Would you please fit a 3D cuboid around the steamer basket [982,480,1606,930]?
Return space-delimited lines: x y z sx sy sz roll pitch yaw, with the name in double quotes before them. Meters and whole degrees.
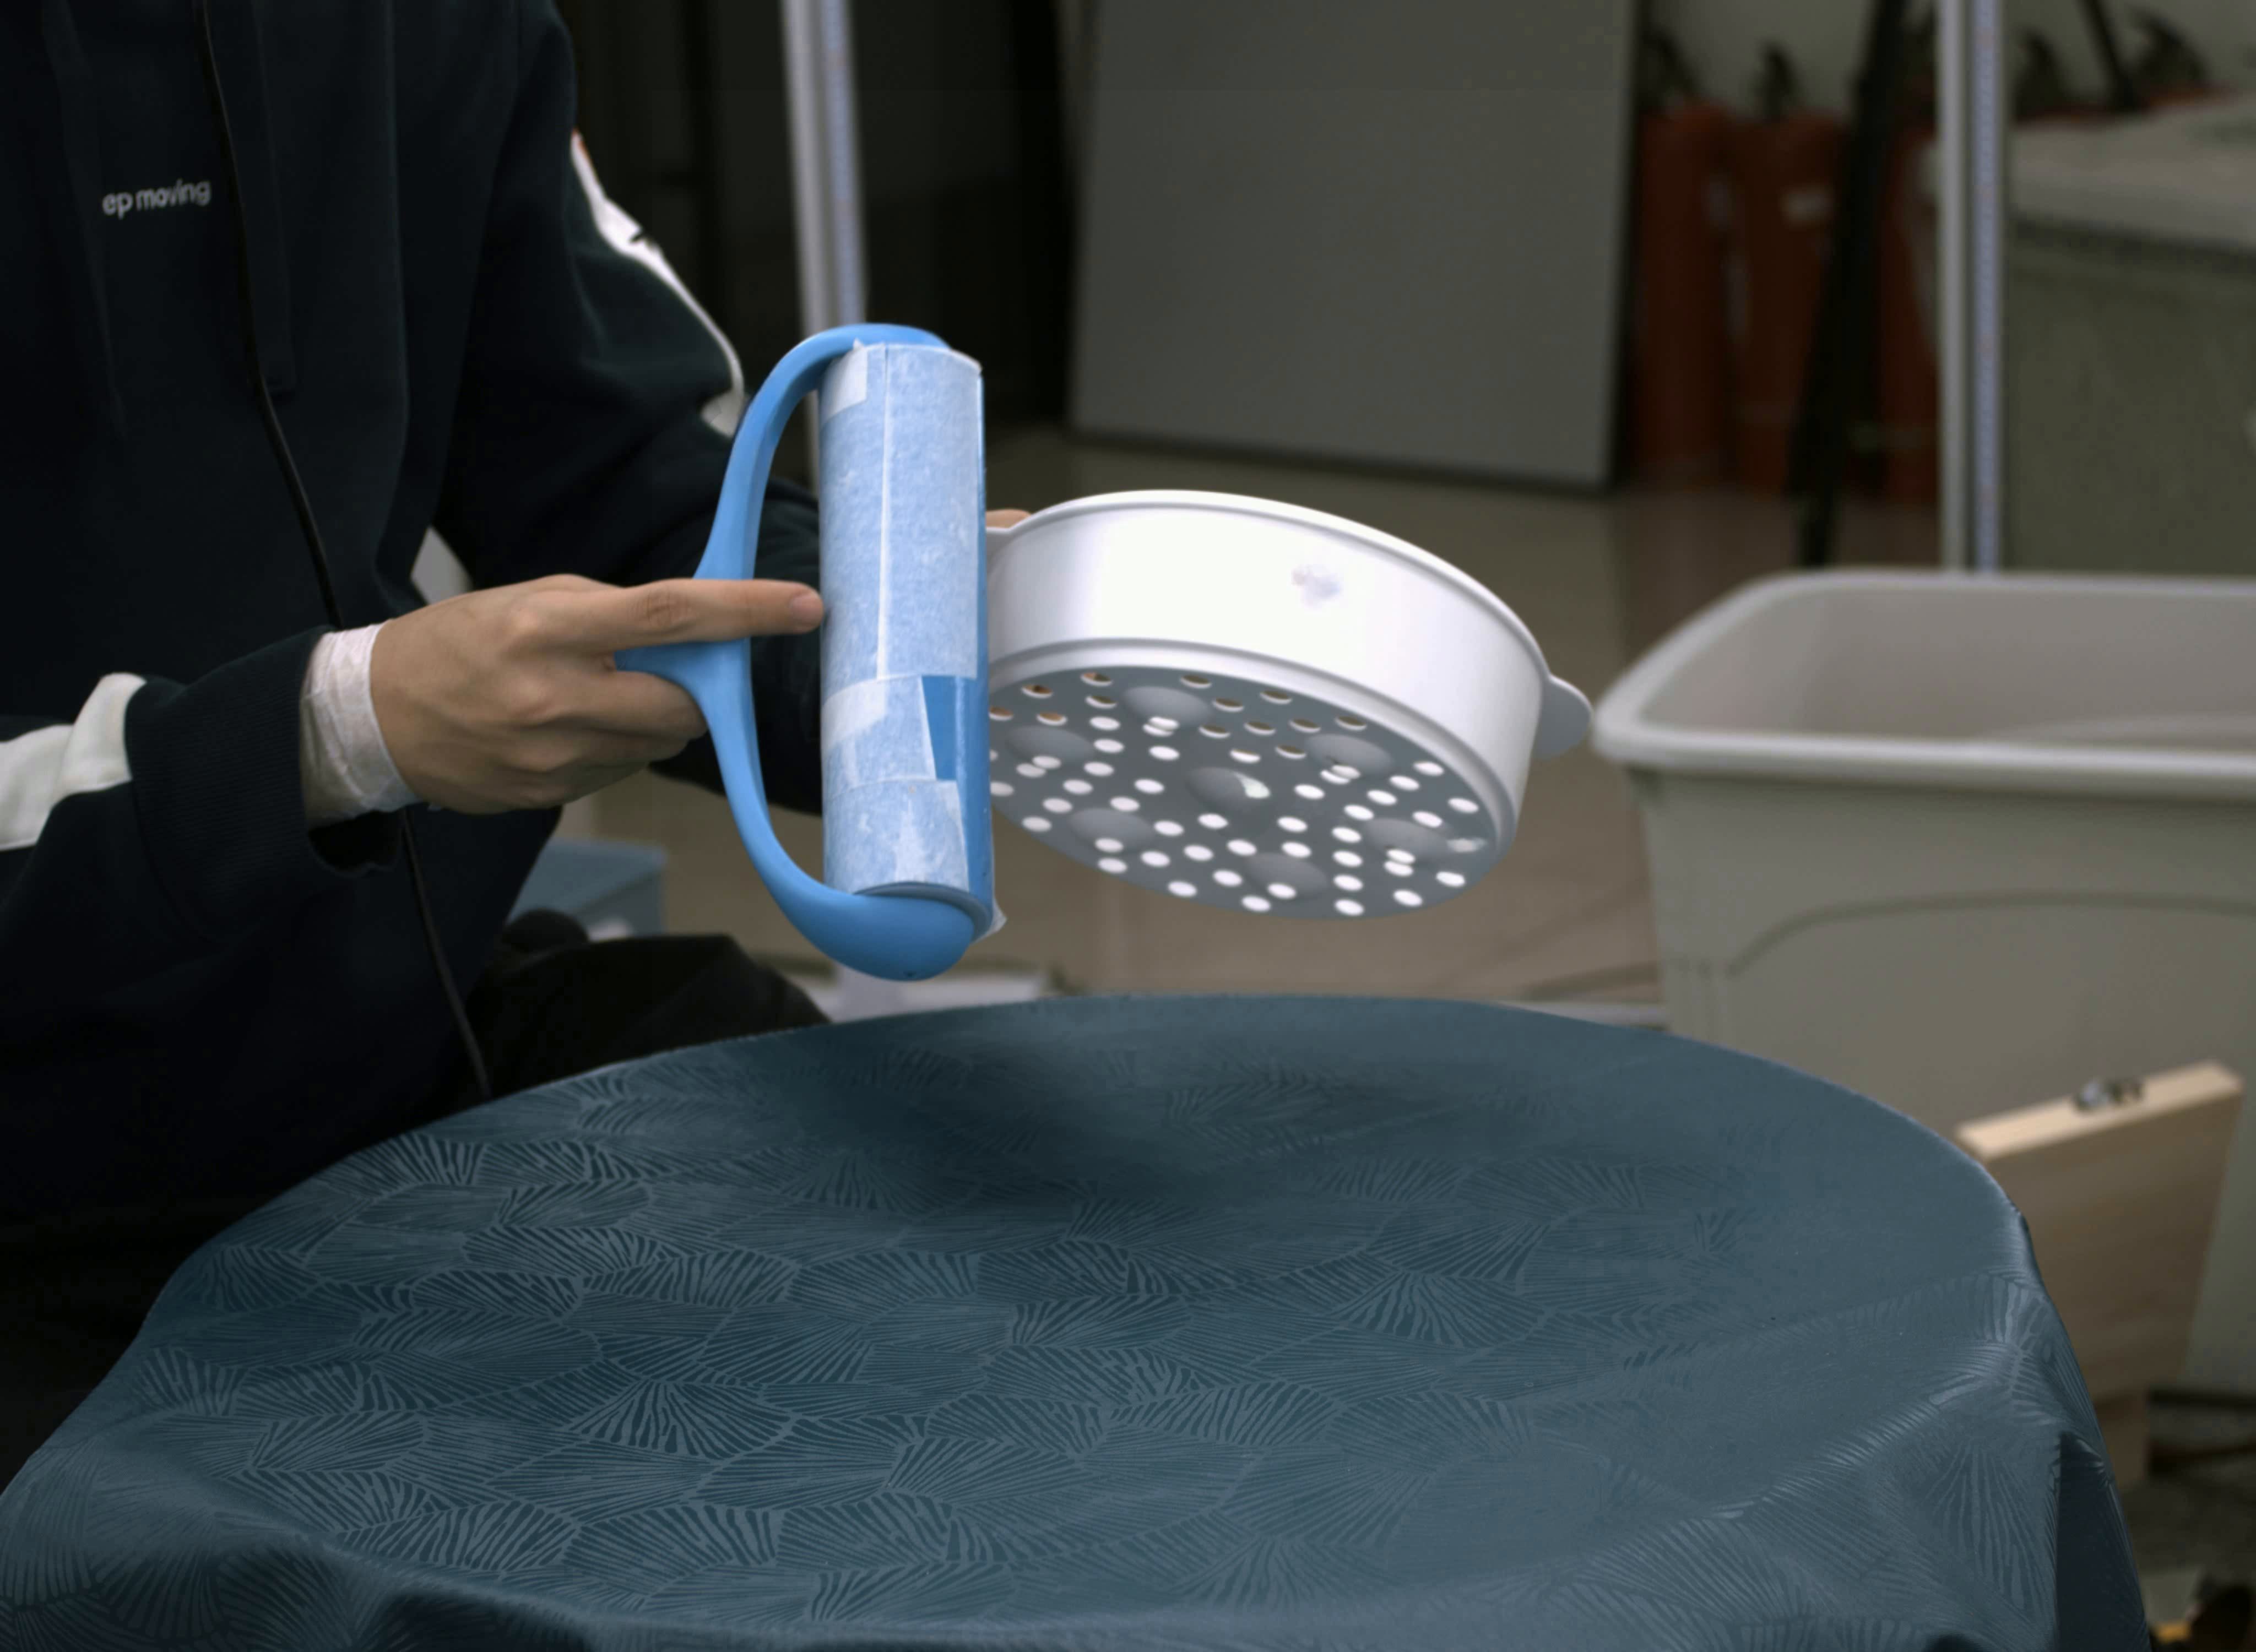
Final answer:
"steamer basket" 0.044 -0.034 1.802 0.227 0.070 0.203 13 -27 -4

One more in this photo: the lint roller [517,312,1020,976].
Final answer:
"lint roller" -0.123 -0.046 1.727 0.179 0.232 0.067 -14 -26 14
